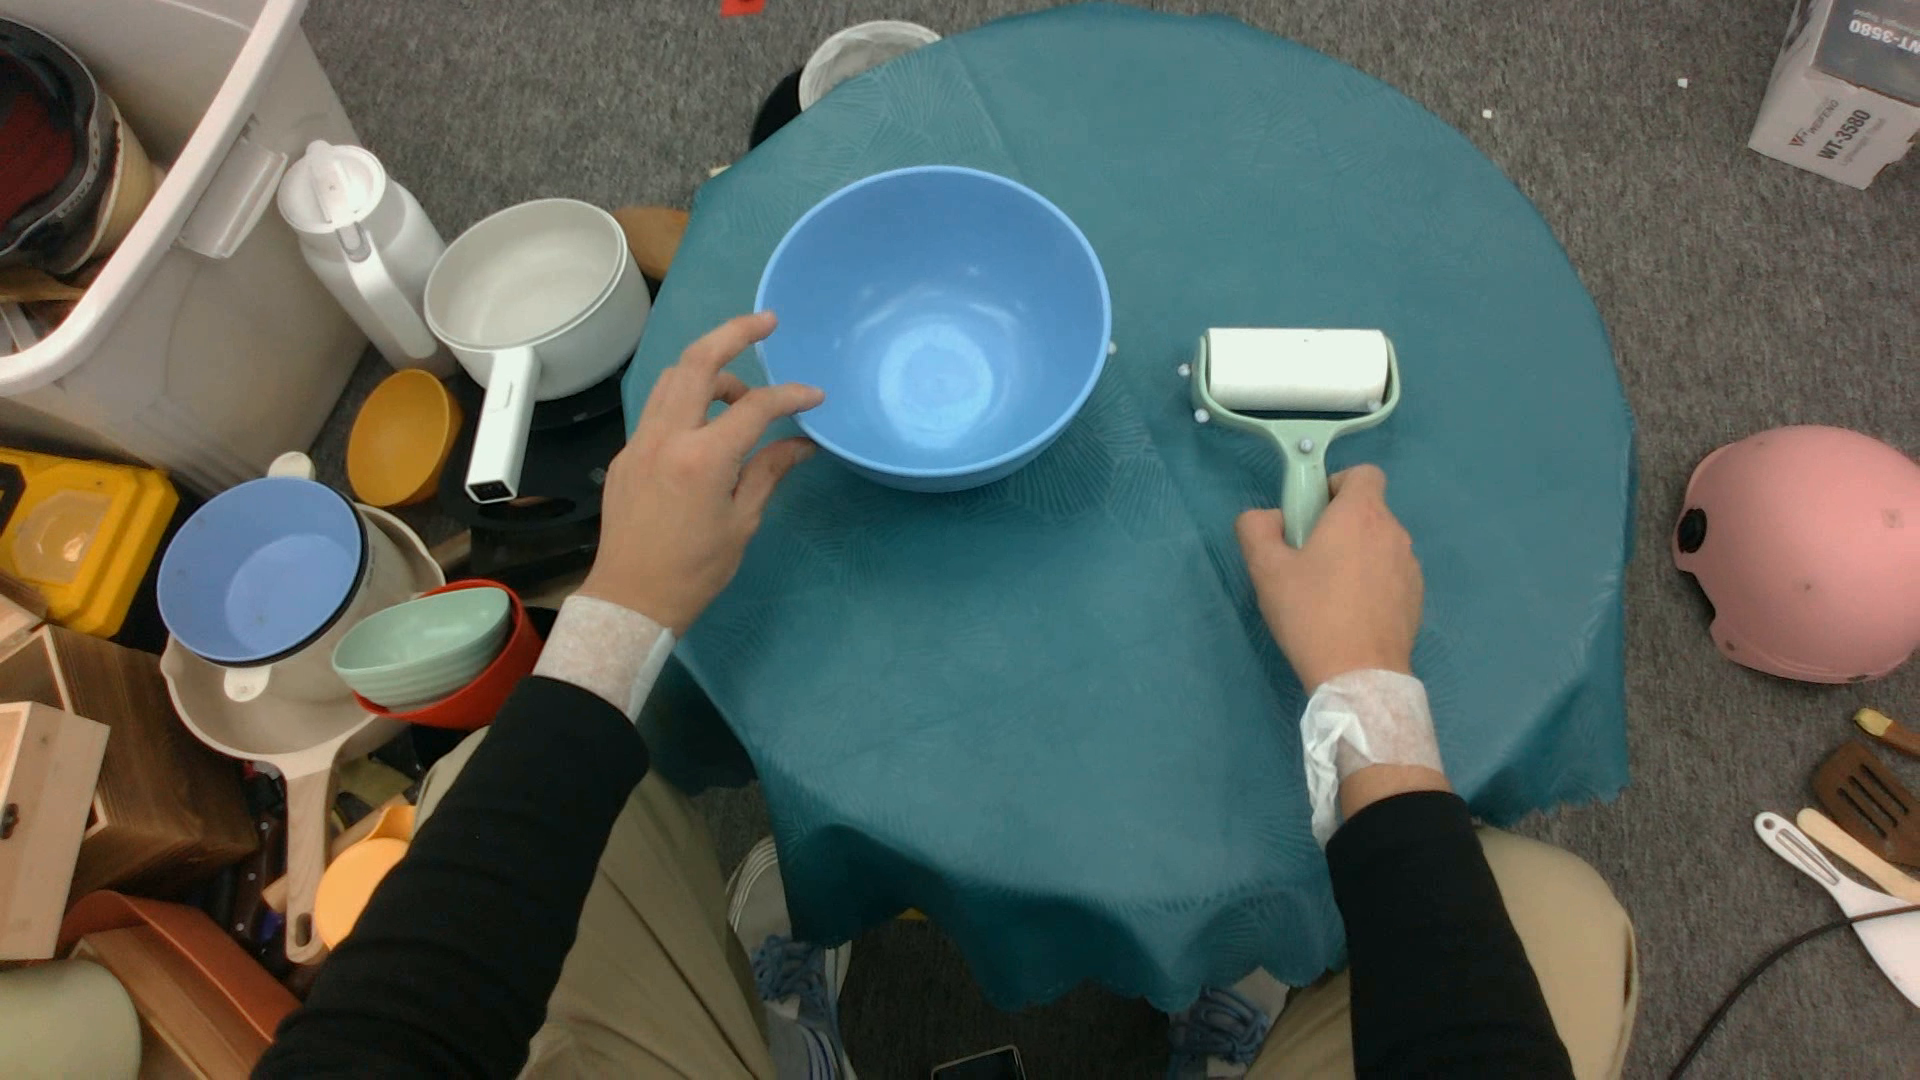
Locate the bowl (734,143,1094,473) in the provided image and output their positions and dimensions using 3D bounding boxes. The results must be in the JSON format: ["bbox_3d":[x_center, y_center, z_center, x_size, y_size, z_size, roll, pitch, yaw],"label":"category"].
[{"bbox_3d":[-0.025,-0.118,0.790,0.196,0.095,0.197,0,68,-1],"label":"bowl"}]

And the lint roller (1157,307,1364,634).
[{"bbox_3d":[0.174,-0.045,0.781,0.116,0.048,0.198,1,65,0],"label":"lint roller"}]
